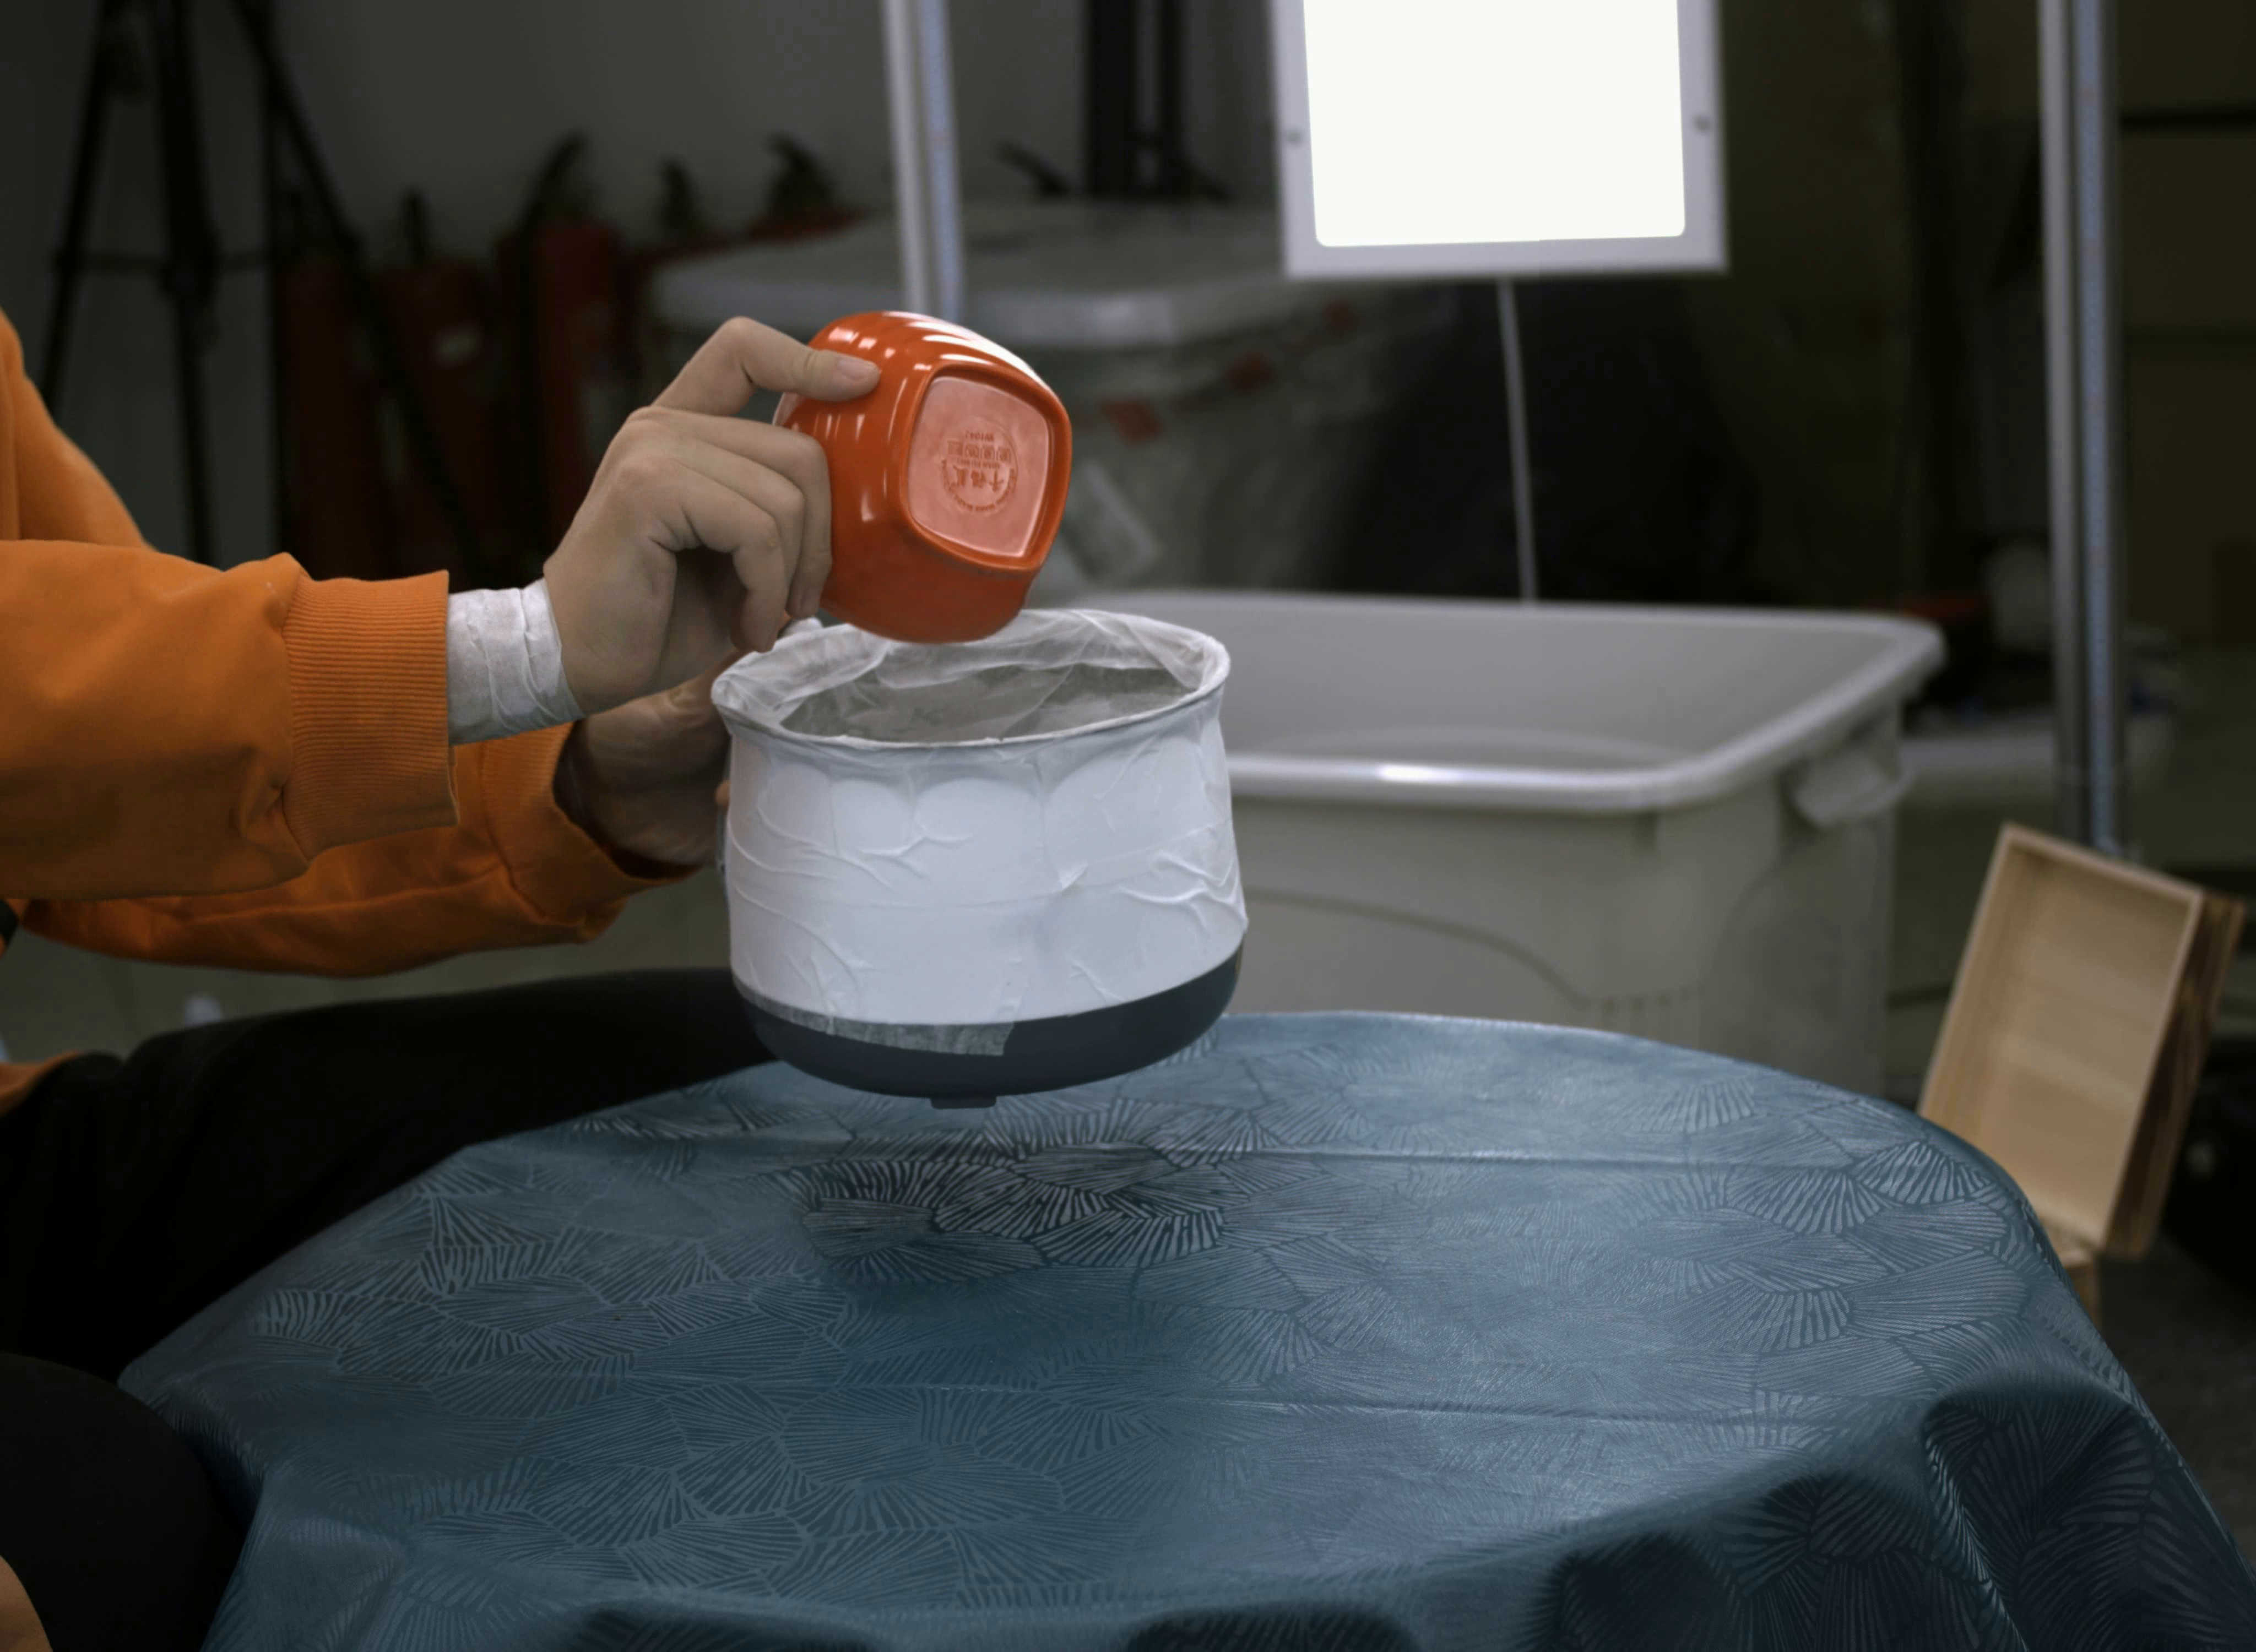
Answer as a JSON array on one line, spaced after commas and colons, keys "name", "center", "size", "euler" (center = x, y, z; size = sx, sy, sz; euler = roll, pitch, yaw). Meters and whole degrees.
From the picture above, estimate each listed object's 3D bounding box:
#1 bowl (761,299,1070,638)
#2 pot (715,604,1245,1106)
[{"name": "bowl", "center": [-0.062, -0.121, 1.831], "size": [0.116, 0.119, 0.052], "euler": [-13, 7, -33]}, {"name": "pot", "center": [-0.067, 0.003, 1.899], "size": [0.174, 0.137, 0.238], "euler": [-15, 20, -36]}]
